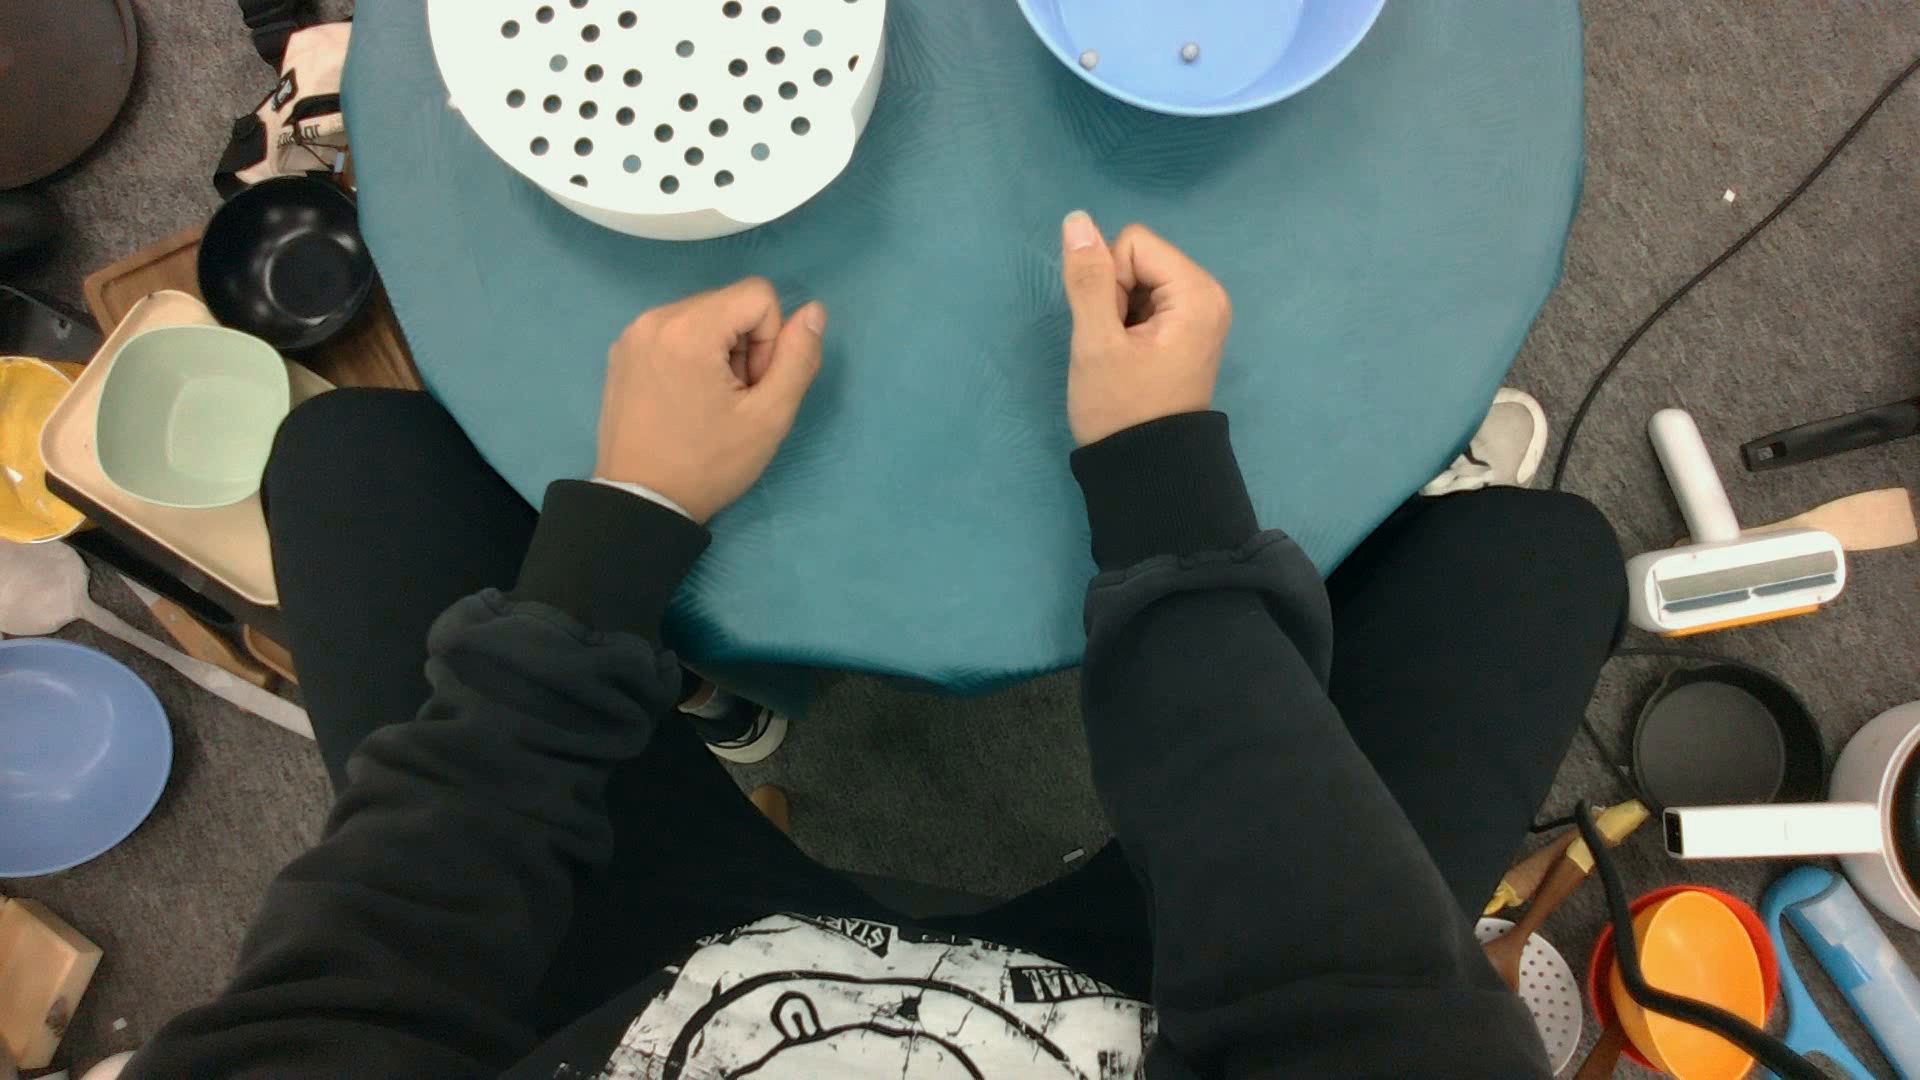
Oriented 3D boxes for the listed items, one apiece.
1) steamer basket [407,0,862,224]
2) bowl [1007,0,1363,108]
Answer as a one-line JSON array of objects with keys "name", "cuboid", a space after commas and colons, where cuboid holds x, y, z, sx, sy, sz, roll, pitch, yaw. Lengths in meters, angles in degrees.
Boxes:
[{"name": "steamer basket", "cuboid": [-0.144, -0.246, 0.635, 0.202, 0.069, 0.230, -36, 83, -4]}, {"name": "bowl", "cuboid": [0.100, -0.273, 0.639, 0.176, 0.070, 0.176, 0, 84, 1]}]
